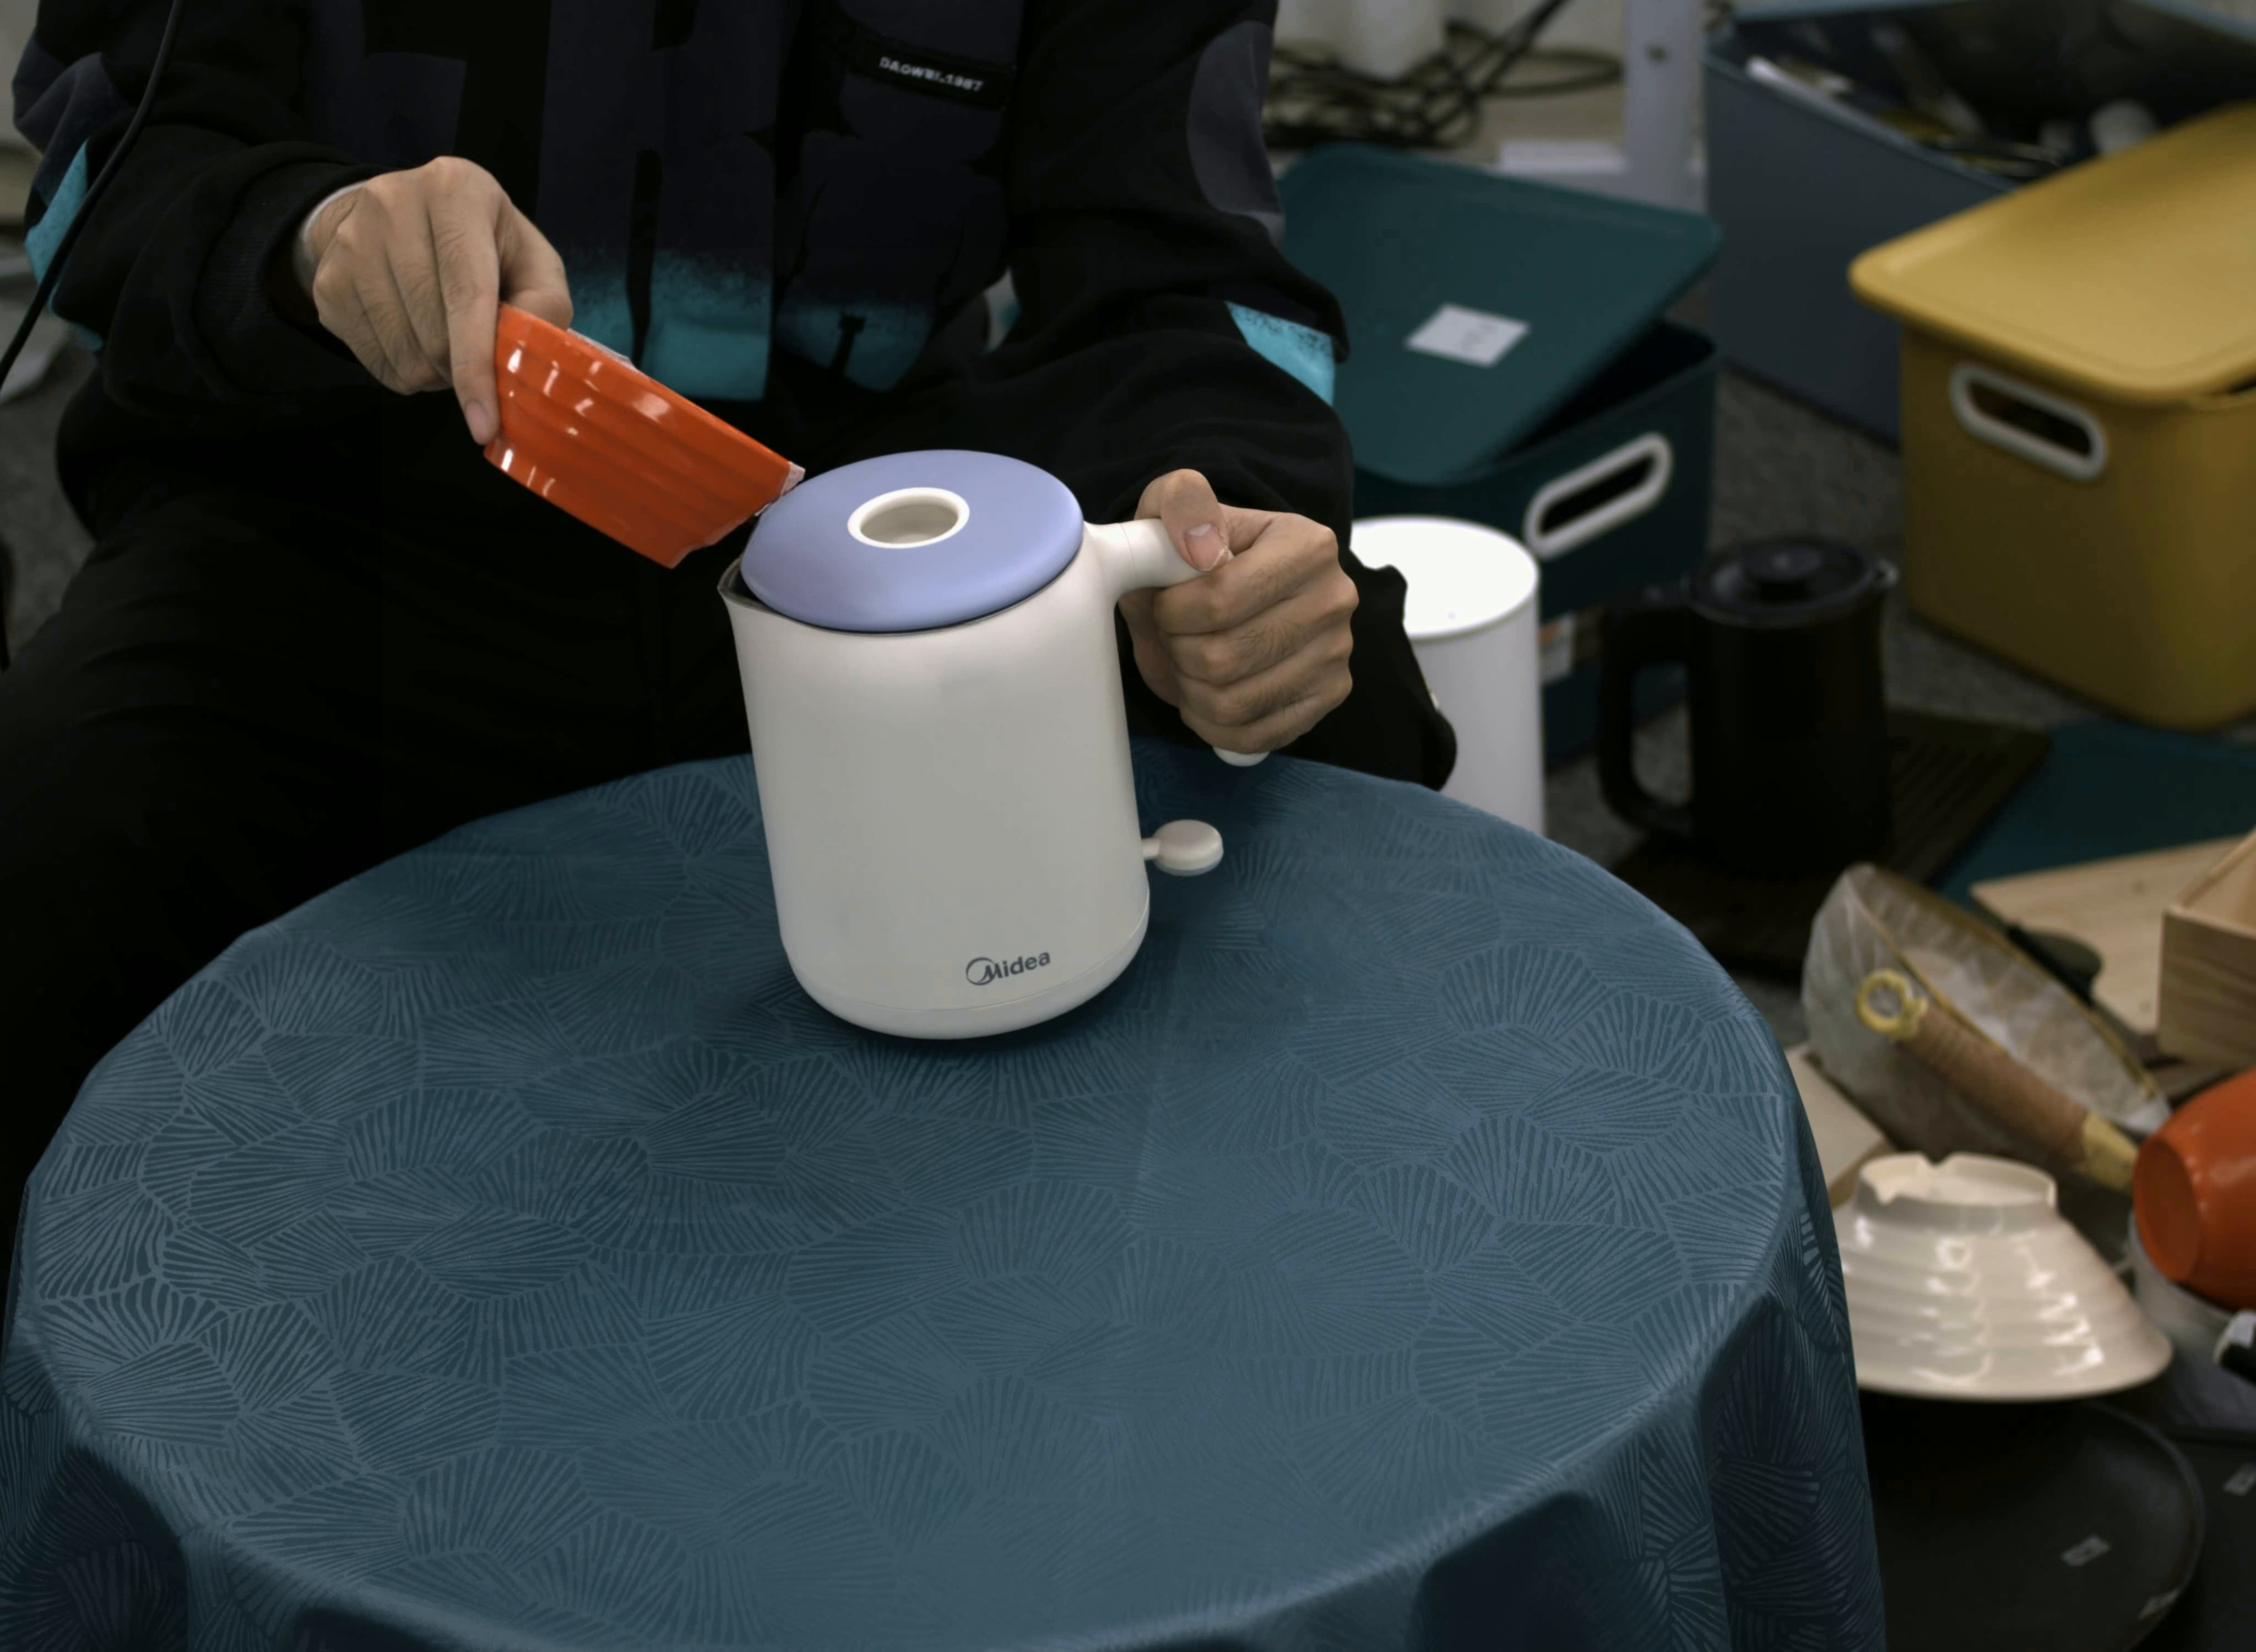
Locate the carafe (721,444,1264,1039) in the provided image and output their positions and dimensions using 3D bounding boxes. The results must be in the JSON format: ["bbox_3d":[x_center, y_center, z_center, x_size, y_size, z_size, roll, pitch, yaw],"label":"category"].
[{"bbox_3d":[-0.043,-0.035,1.958,0.191,0.180,0.133,-12,32,-15],"label":"carafe"}]

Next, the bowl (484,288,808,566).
[{"bbox_3d":[-0.167,-0.125,1.843,0.118,0.051,0.119,30,4,-1],"label":"bowl"}]
